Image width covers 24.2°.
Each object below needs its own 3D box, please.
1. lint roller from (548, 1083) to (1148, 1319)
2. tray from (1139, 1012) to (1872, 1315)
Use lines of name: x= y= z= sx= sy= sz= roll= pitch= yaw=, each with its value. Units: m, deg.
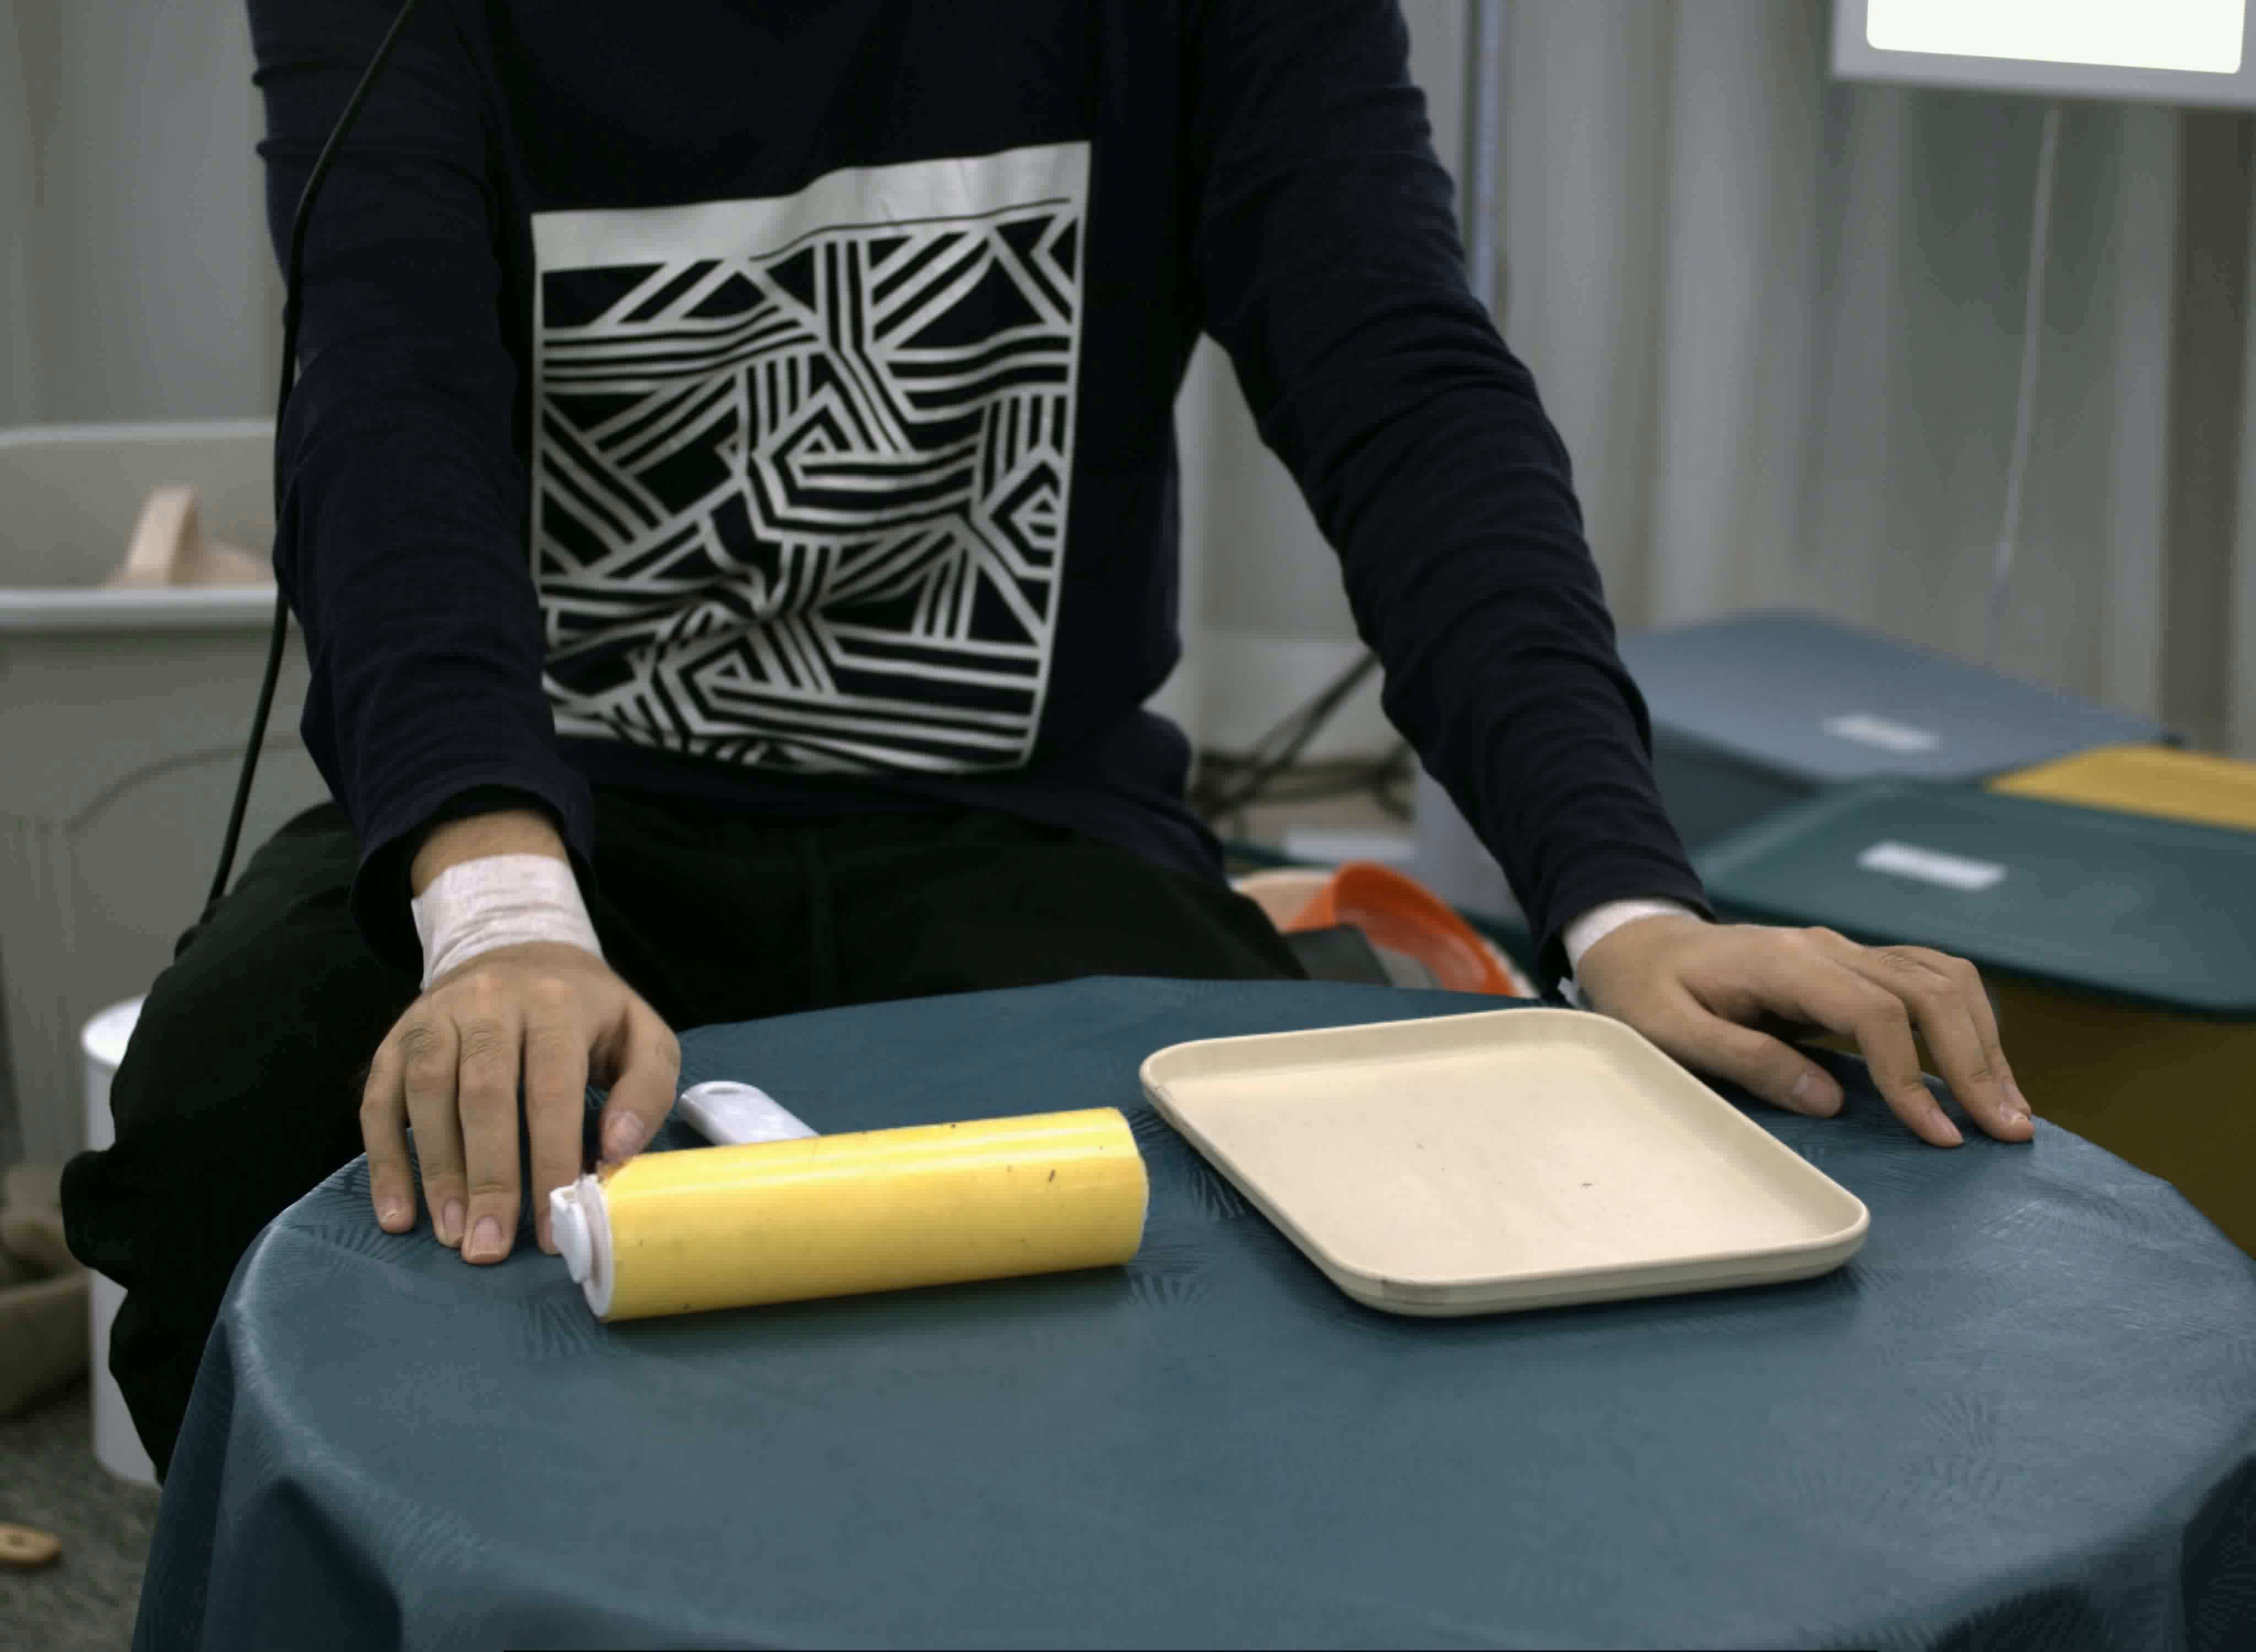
lint roller: x=-0.104 y=0.095 z=1.595 sx=0.175 sy=0.052 sz=0.190 roll=-4 pitch=19 yaw=-20
tray: x=0.112 y=0.103 z=1.630 sx=0.171 sy=0.017 sz=0.237 roll=-4 pitch=16 yaw=-18
